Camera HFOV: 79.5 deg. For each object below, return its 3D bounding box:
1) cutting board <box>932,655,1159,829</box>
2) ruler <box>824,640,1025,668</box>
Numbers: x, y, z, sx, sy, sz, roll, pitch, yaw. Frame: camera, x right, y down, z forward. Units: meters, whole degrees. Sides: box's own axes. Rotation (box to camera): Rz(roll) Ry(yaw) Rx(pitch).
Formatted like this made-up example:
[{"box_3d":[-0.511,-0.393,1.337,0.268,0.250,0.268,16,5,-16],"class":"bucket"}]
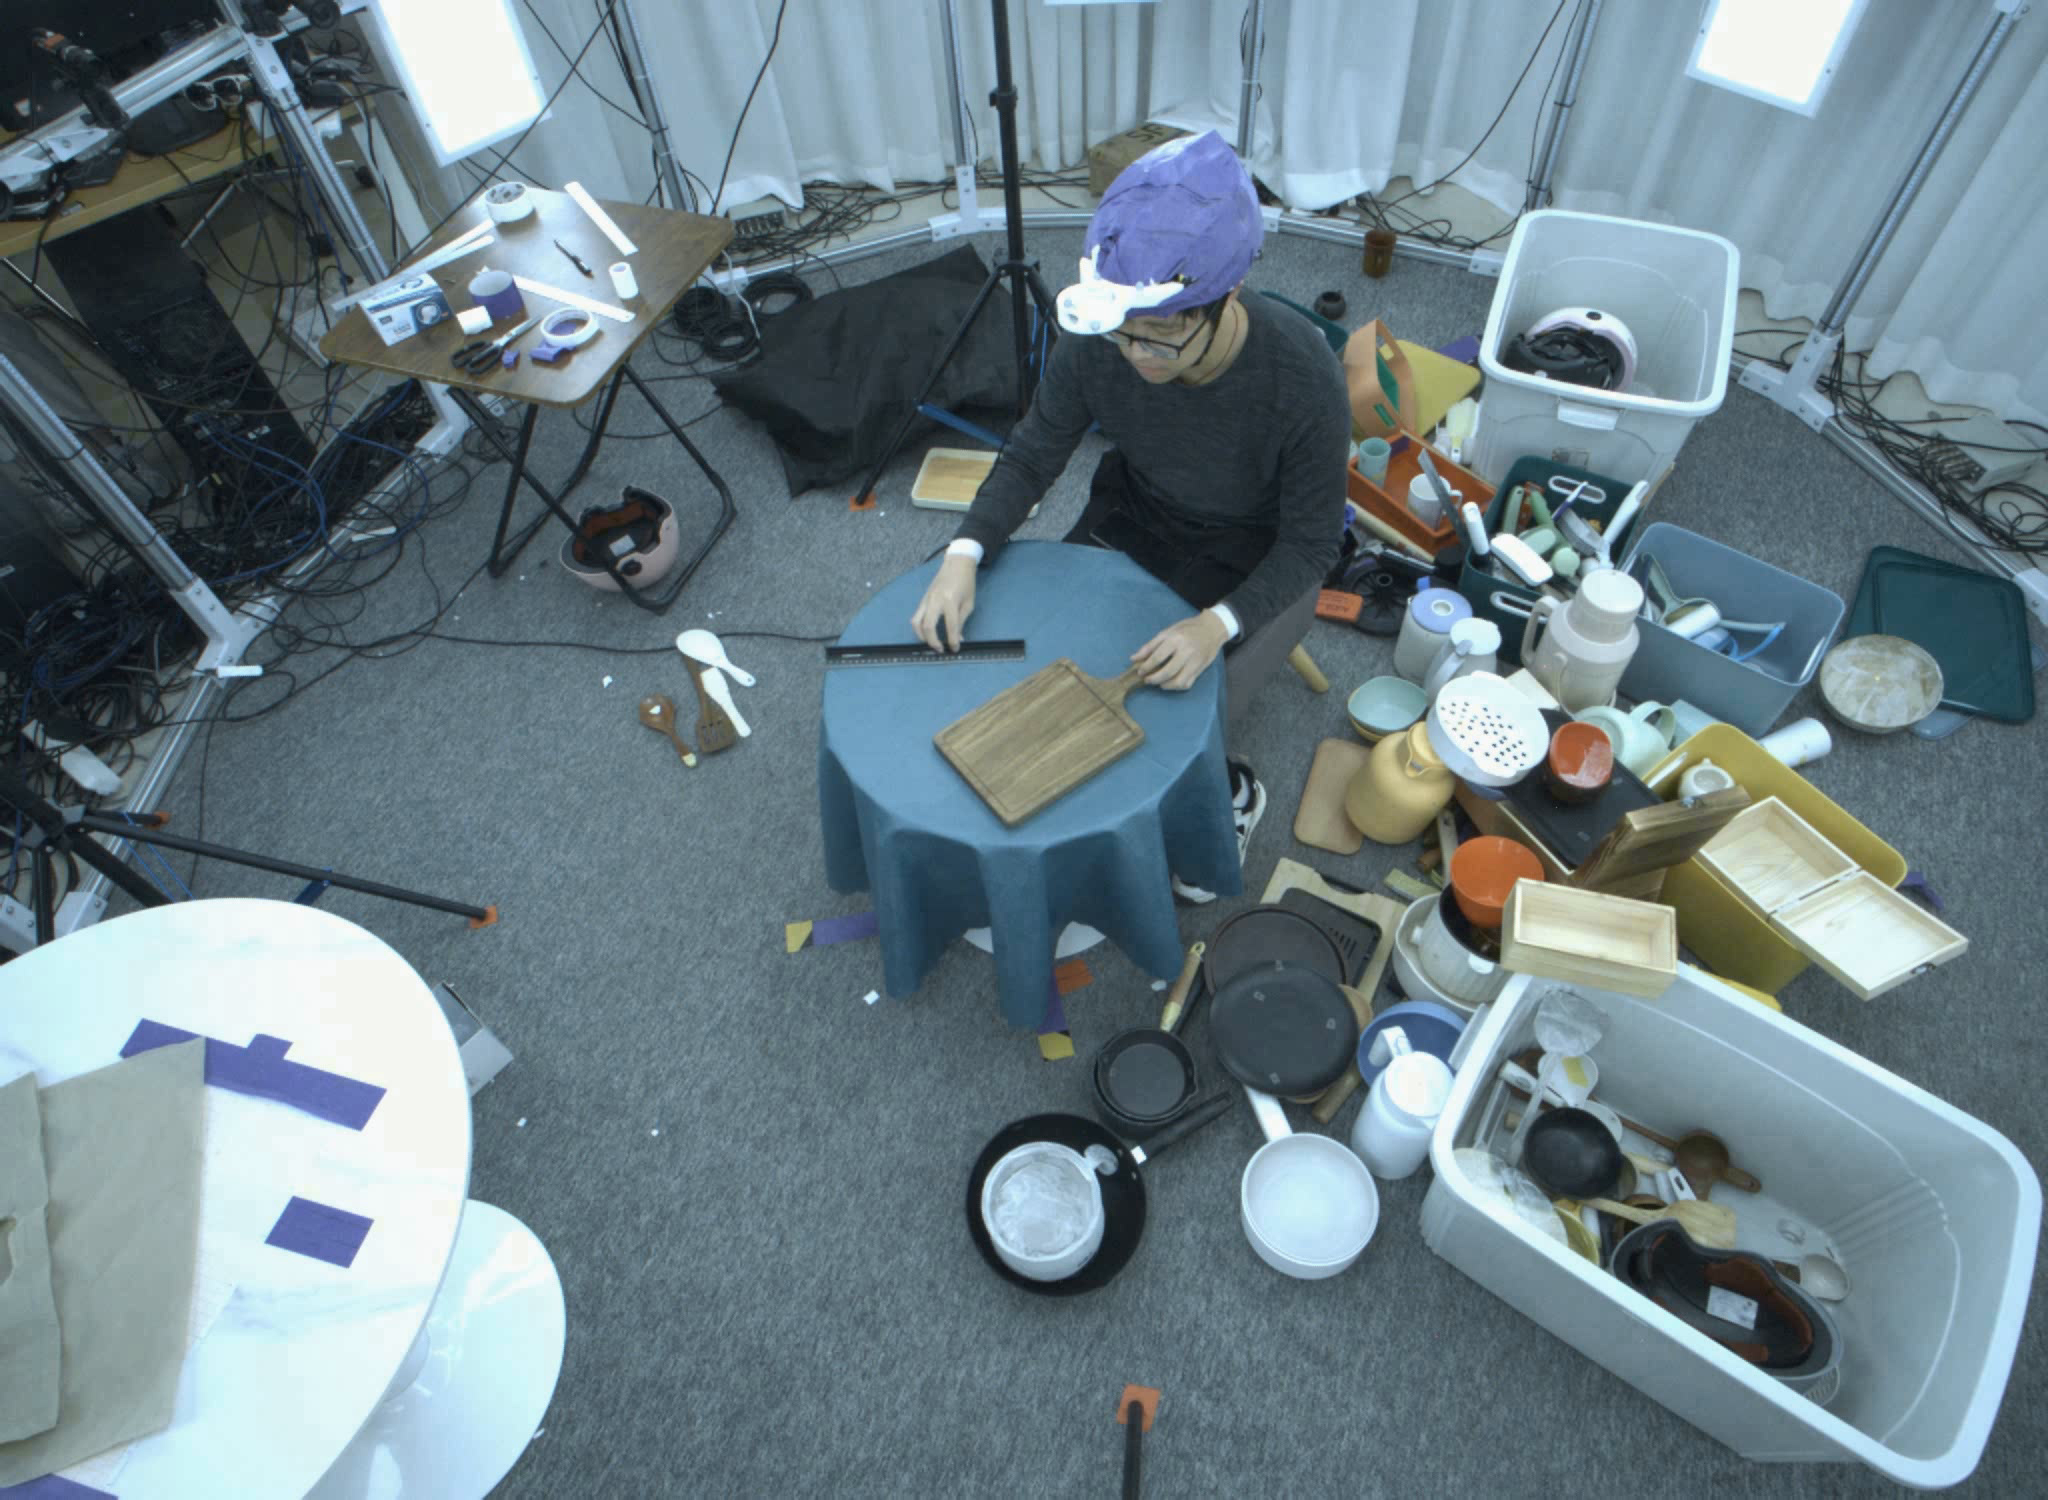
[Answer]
[{"box_3d":[0.061,-0.042,1.803,0.355,0.023,0.197,-33,60,-20],"class":"cutting board"},{"box_3d":[-0.155,-0.150,1.890,0.312,0.017,0.039,-2,57,1],"class":"ruler"}]
